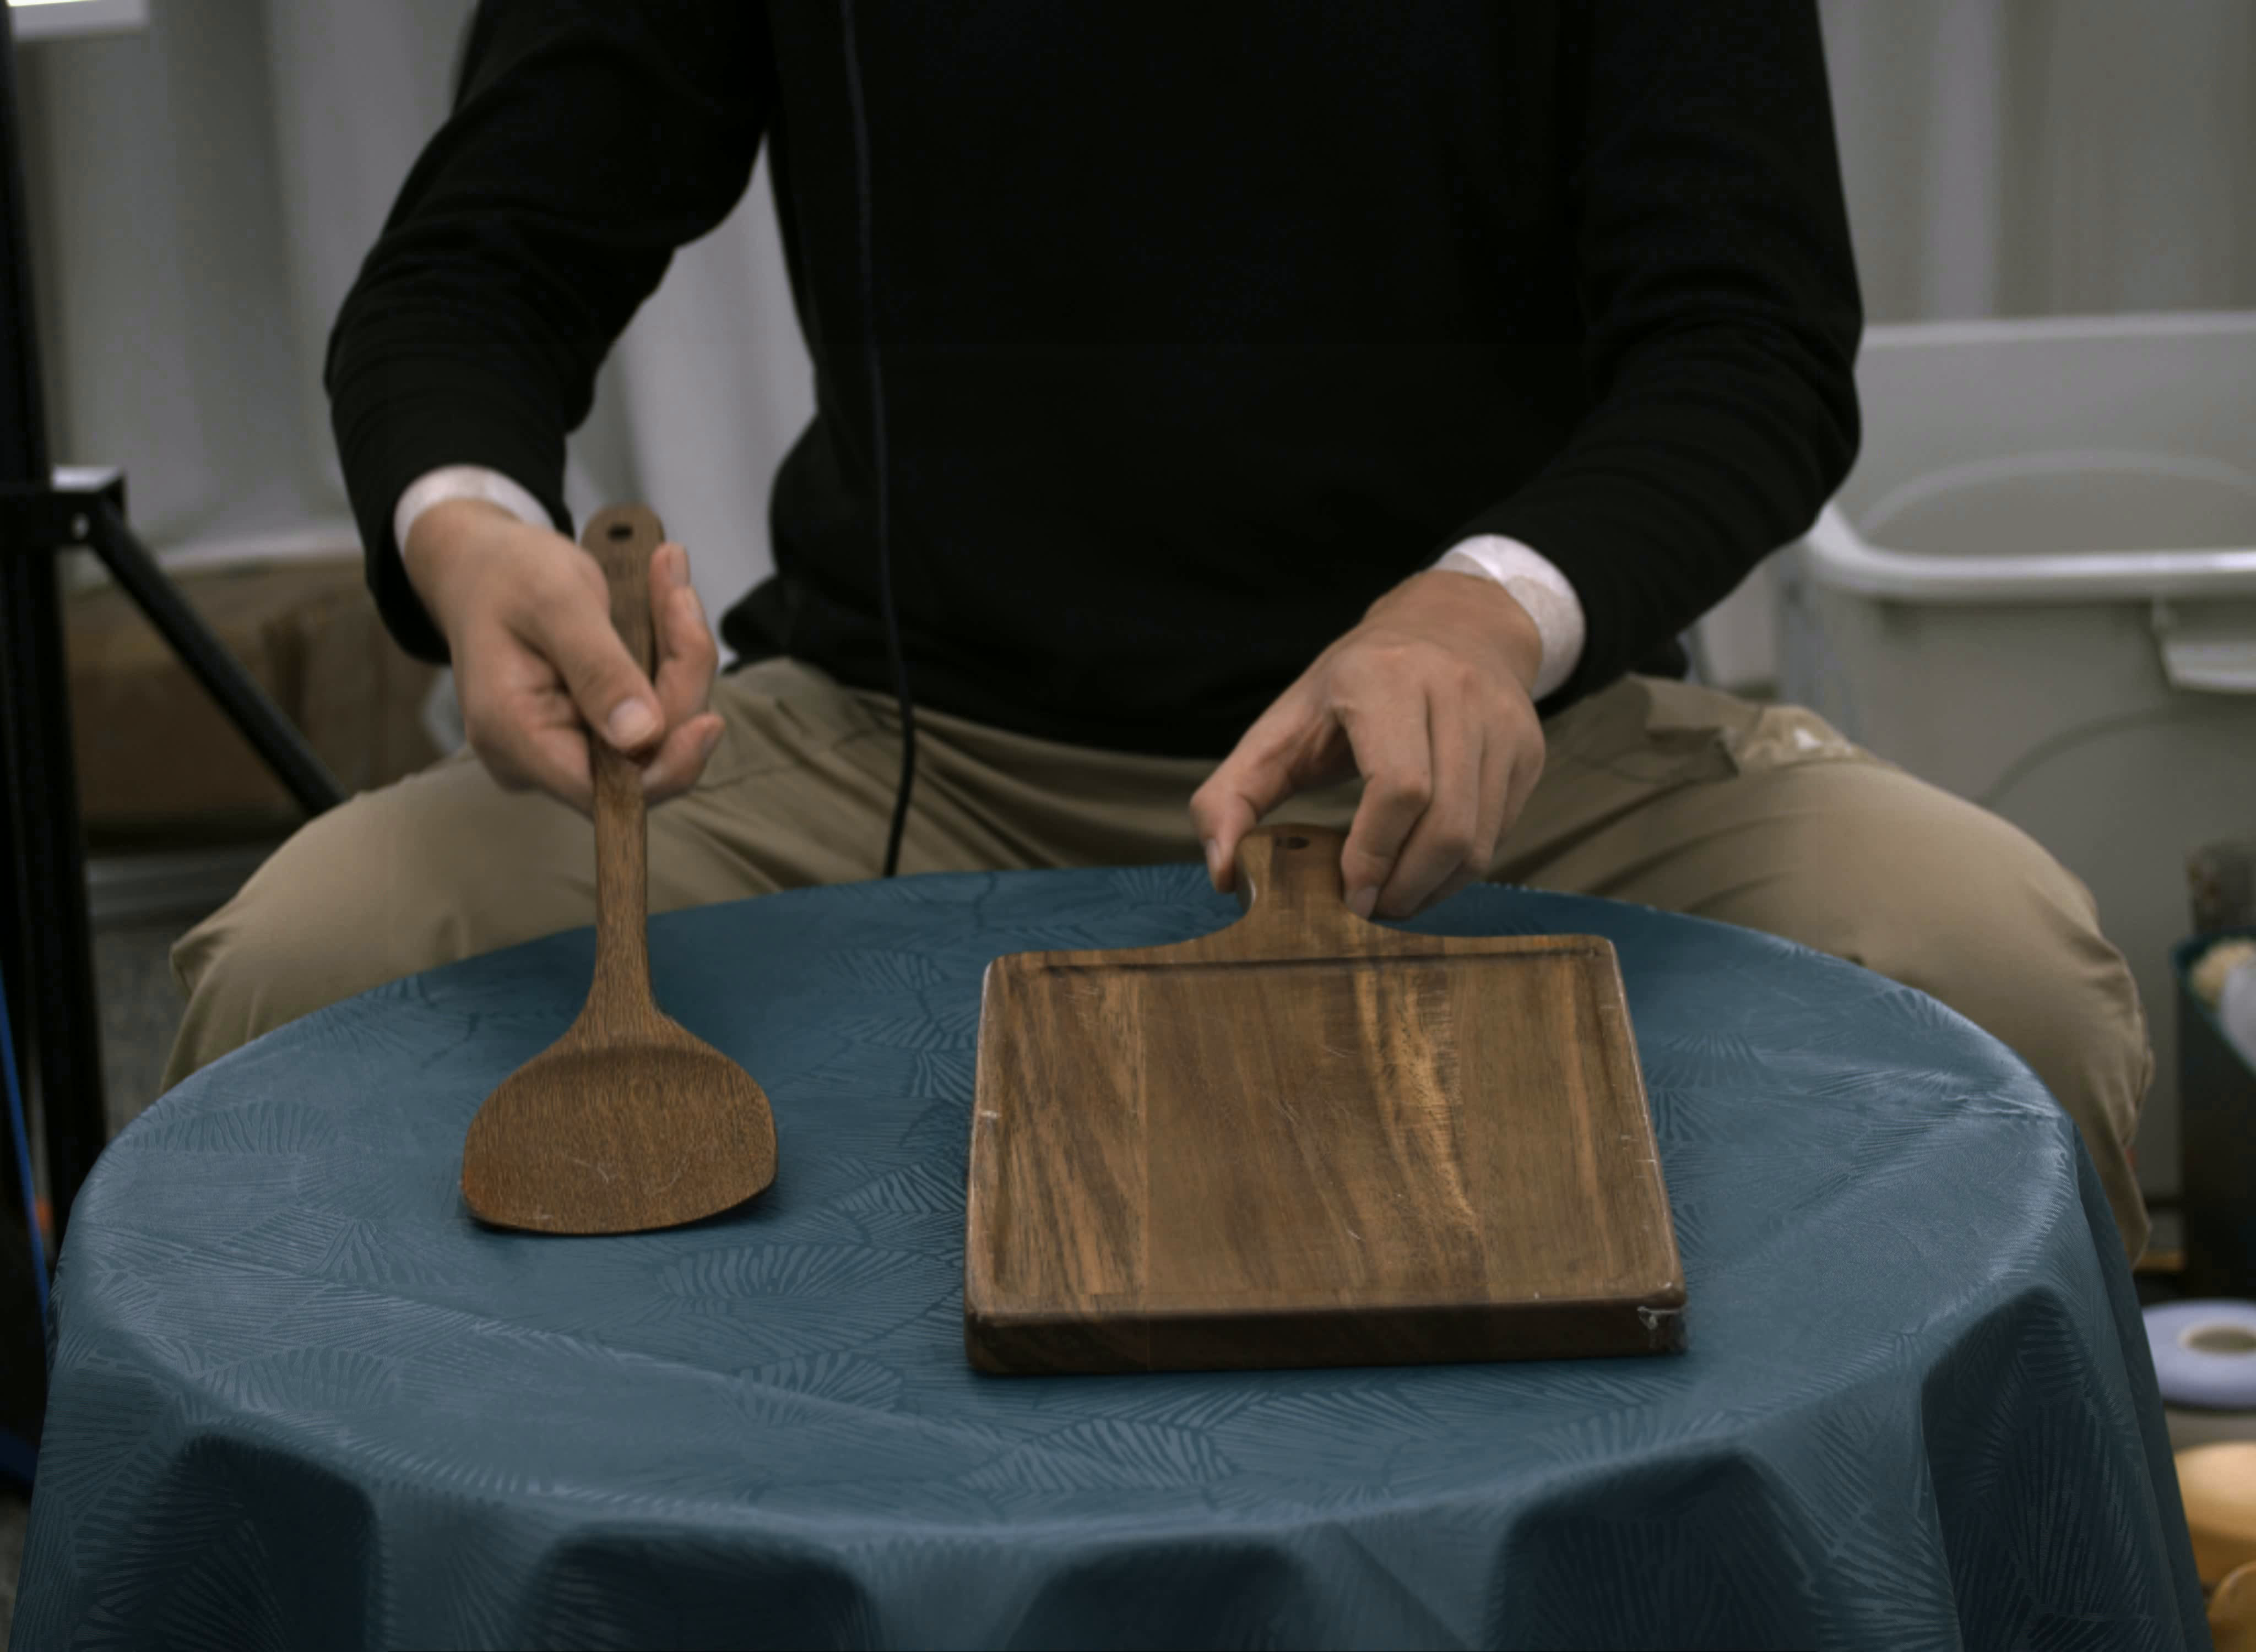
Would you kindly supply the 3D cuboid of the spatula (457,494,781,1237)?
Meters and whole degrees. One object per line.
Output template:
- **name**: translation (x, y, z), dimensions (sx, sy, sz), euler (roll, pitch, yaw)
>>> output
- **spatula**: translation (-0.162, 0.001, 1.702), dimensions (0.095, 0.015, 0.390), euler (-6, 38, -1)

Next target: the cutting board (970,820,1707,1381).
- **cutting board**: translation (0.054, 0.072, 1.573), dimensions (0.200, 0.023, 0.354), euler (-3, 22, 1)
